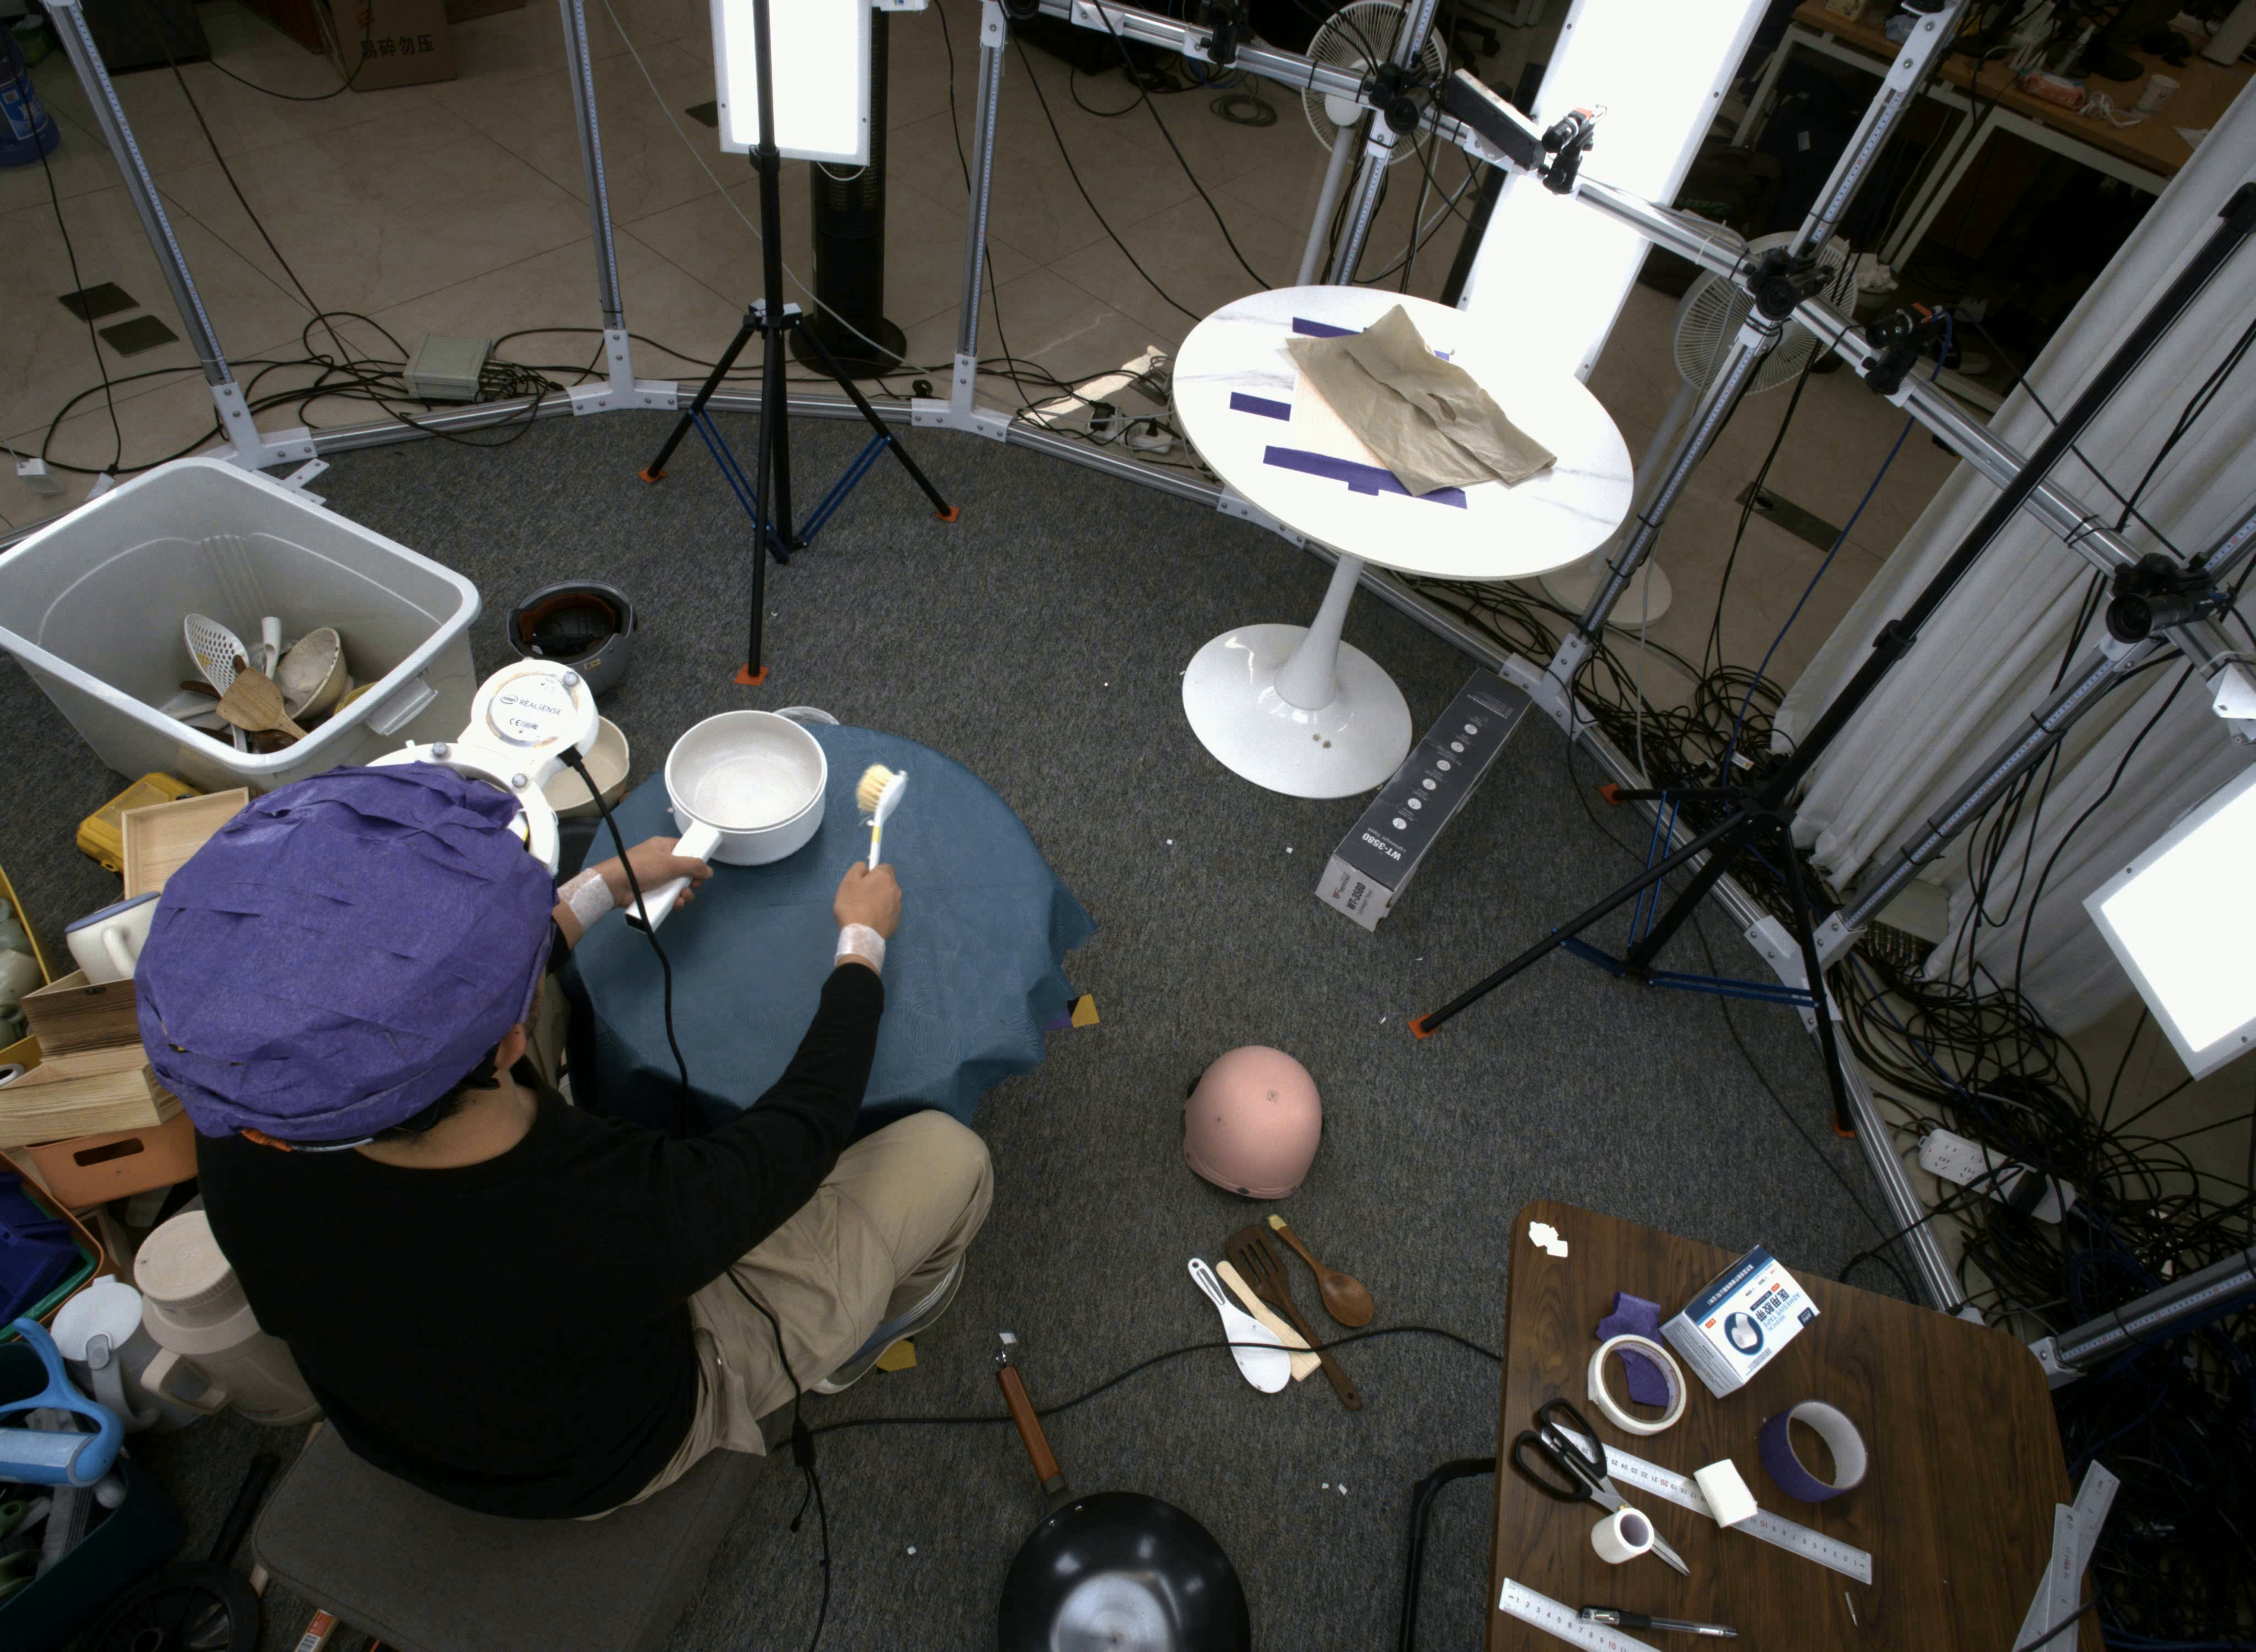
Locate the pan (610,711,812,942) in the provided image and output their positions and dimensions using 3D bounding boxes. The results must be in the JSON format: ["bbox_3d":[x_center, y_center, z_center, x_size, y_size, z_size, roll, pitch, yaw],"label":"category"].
[{"bbox_3d":[-0.533,0.014,1.618,0.199,0.104,0.351,22,52,2],"label":"pan"}]

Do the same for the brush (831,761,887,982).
[{"bbox_3d":[-0.336,0.051,1.576,0.055,0.069,0.267,2,80,8],"label":"brush"}]
